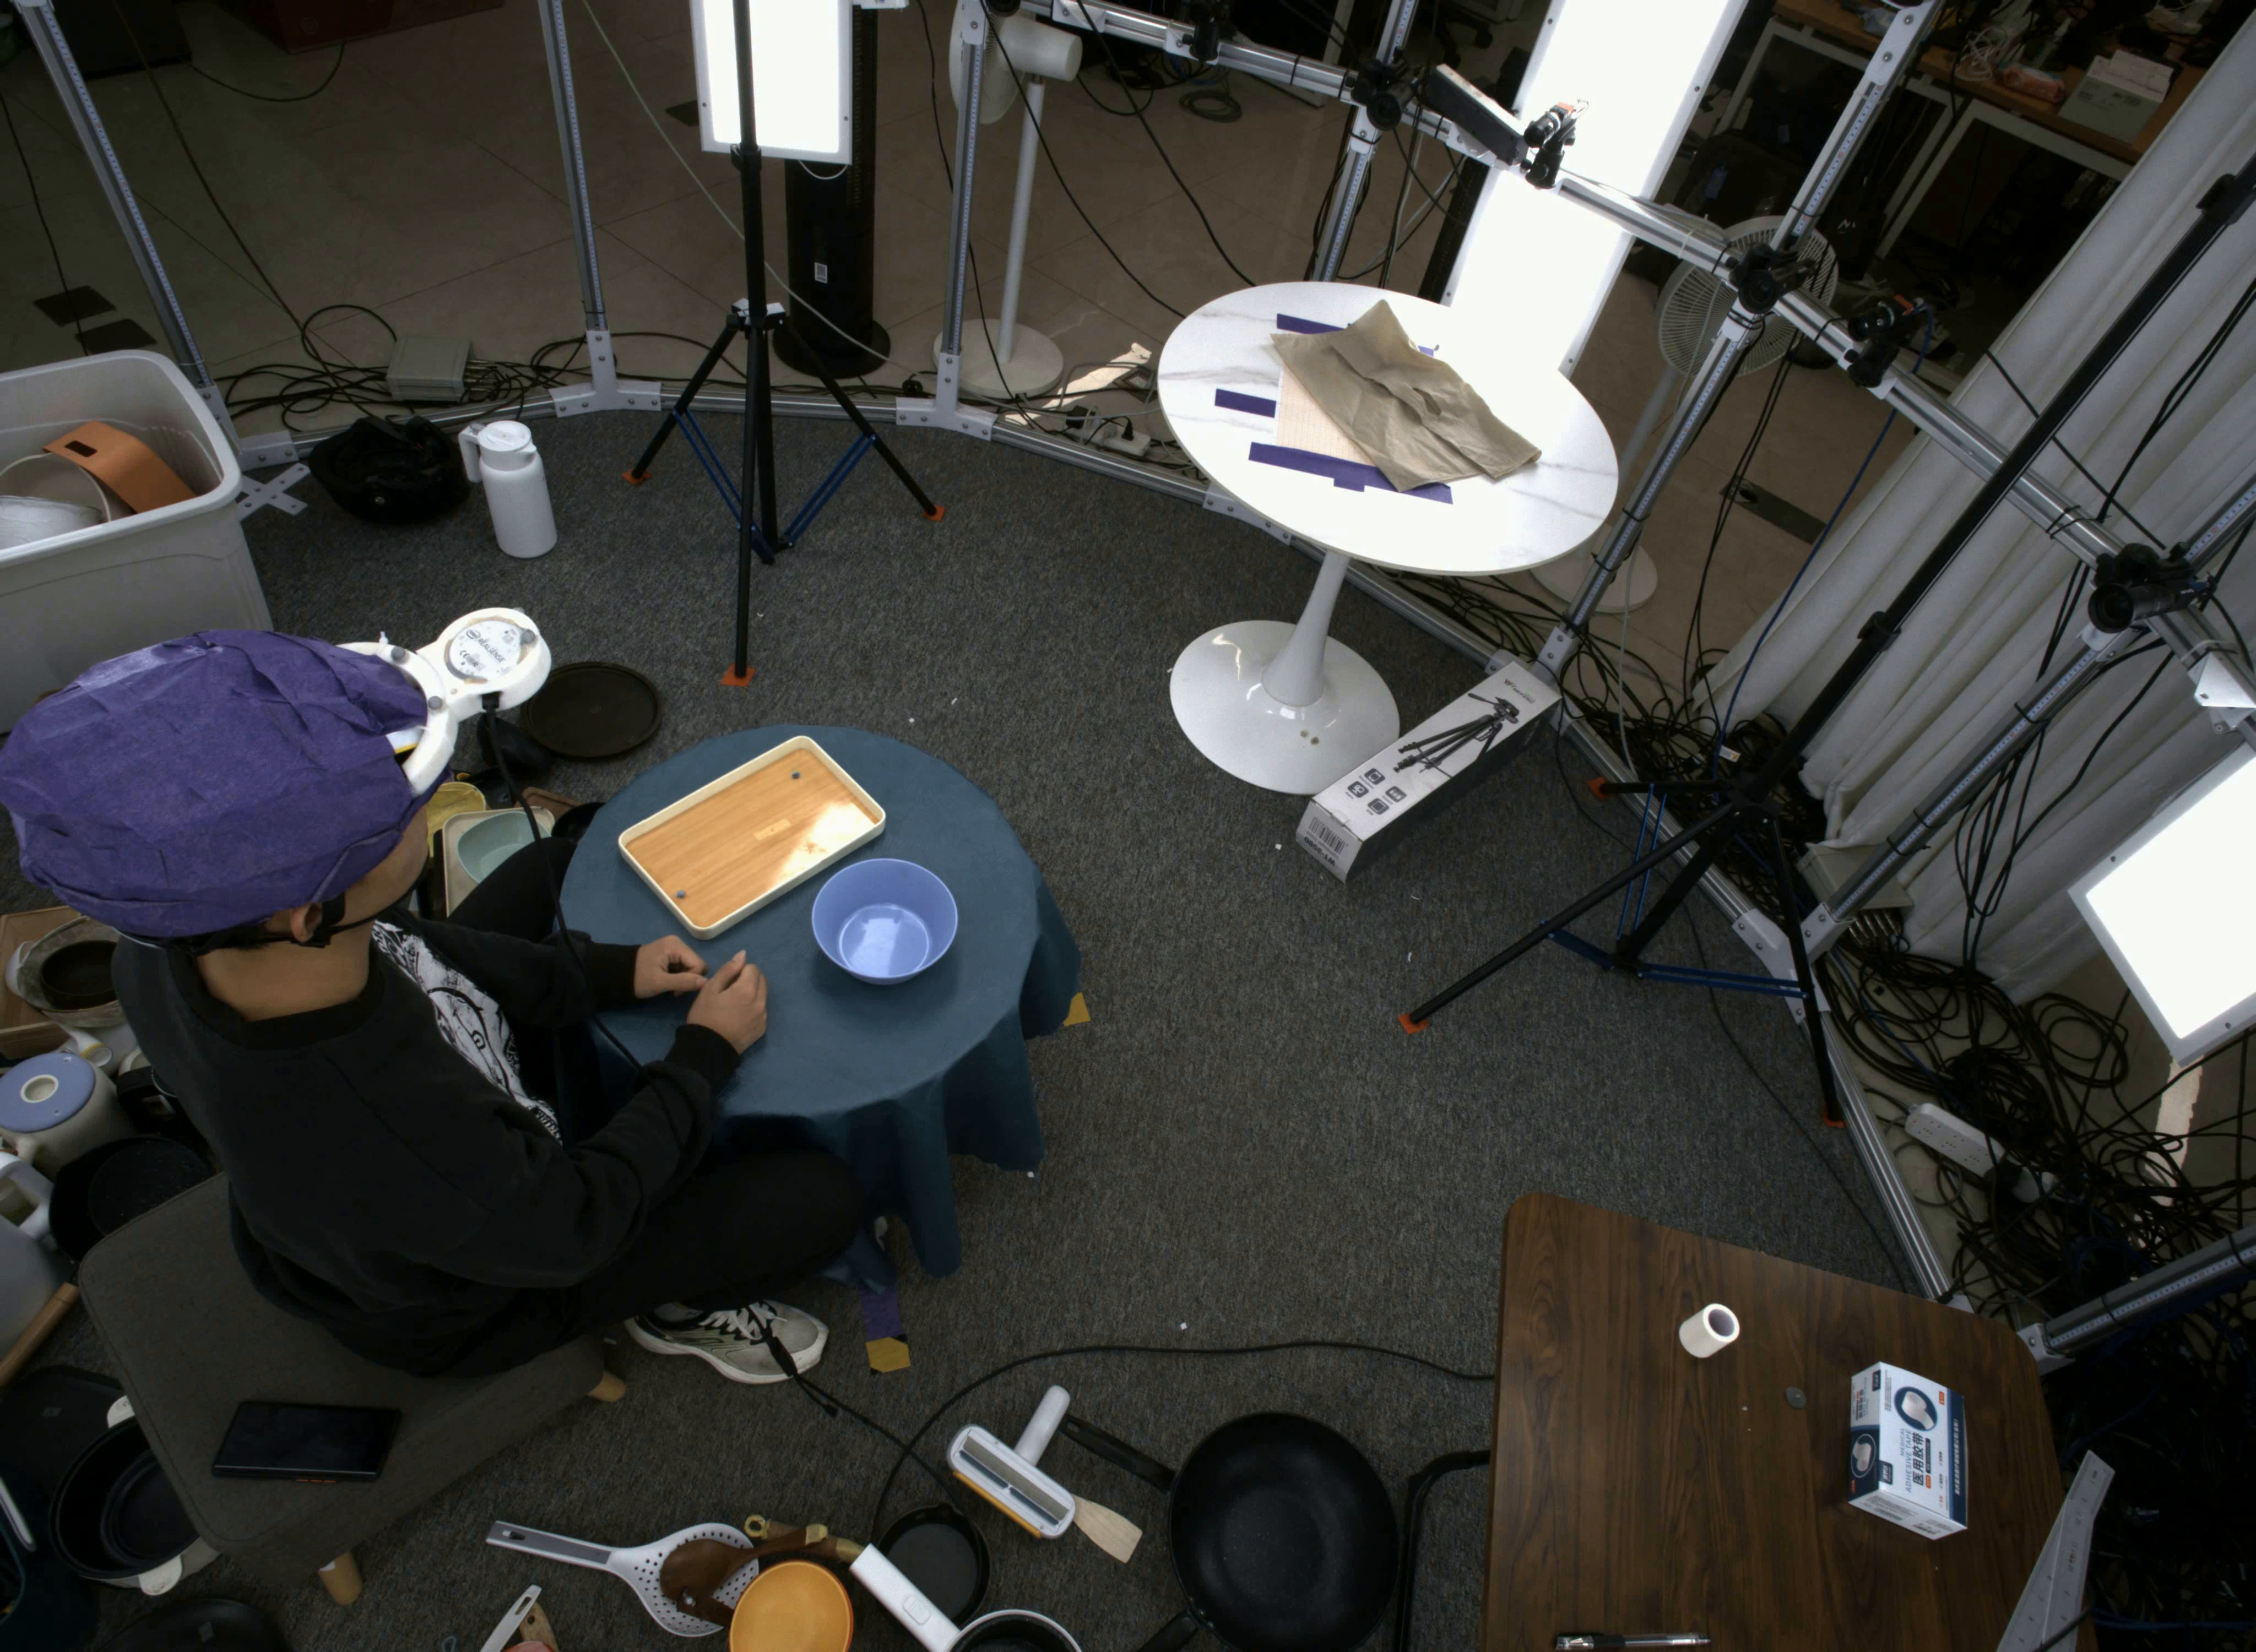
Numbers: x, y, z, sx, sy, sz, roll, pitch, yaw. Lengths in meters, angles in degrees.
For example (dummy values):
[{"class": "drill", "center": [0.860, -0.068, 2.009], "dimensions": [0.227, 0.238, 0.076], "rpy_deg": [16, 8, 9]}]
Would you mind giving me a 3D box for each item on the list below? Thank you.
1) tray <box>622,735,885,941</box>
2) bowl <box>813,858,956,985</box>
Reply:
[{"class": "tray", "center": [-0.487, 0.008, 1.690], "dimensions": [0.187, 0.028, 0.301], "rpy_deg": [42, 55, 18]}, {"class": "bowl", "center": [-0.303, 0.128, 1.619], "dimensions": [0.176, 0.072, 0.173], "rpy_deg": [8, 51, -9]}]
